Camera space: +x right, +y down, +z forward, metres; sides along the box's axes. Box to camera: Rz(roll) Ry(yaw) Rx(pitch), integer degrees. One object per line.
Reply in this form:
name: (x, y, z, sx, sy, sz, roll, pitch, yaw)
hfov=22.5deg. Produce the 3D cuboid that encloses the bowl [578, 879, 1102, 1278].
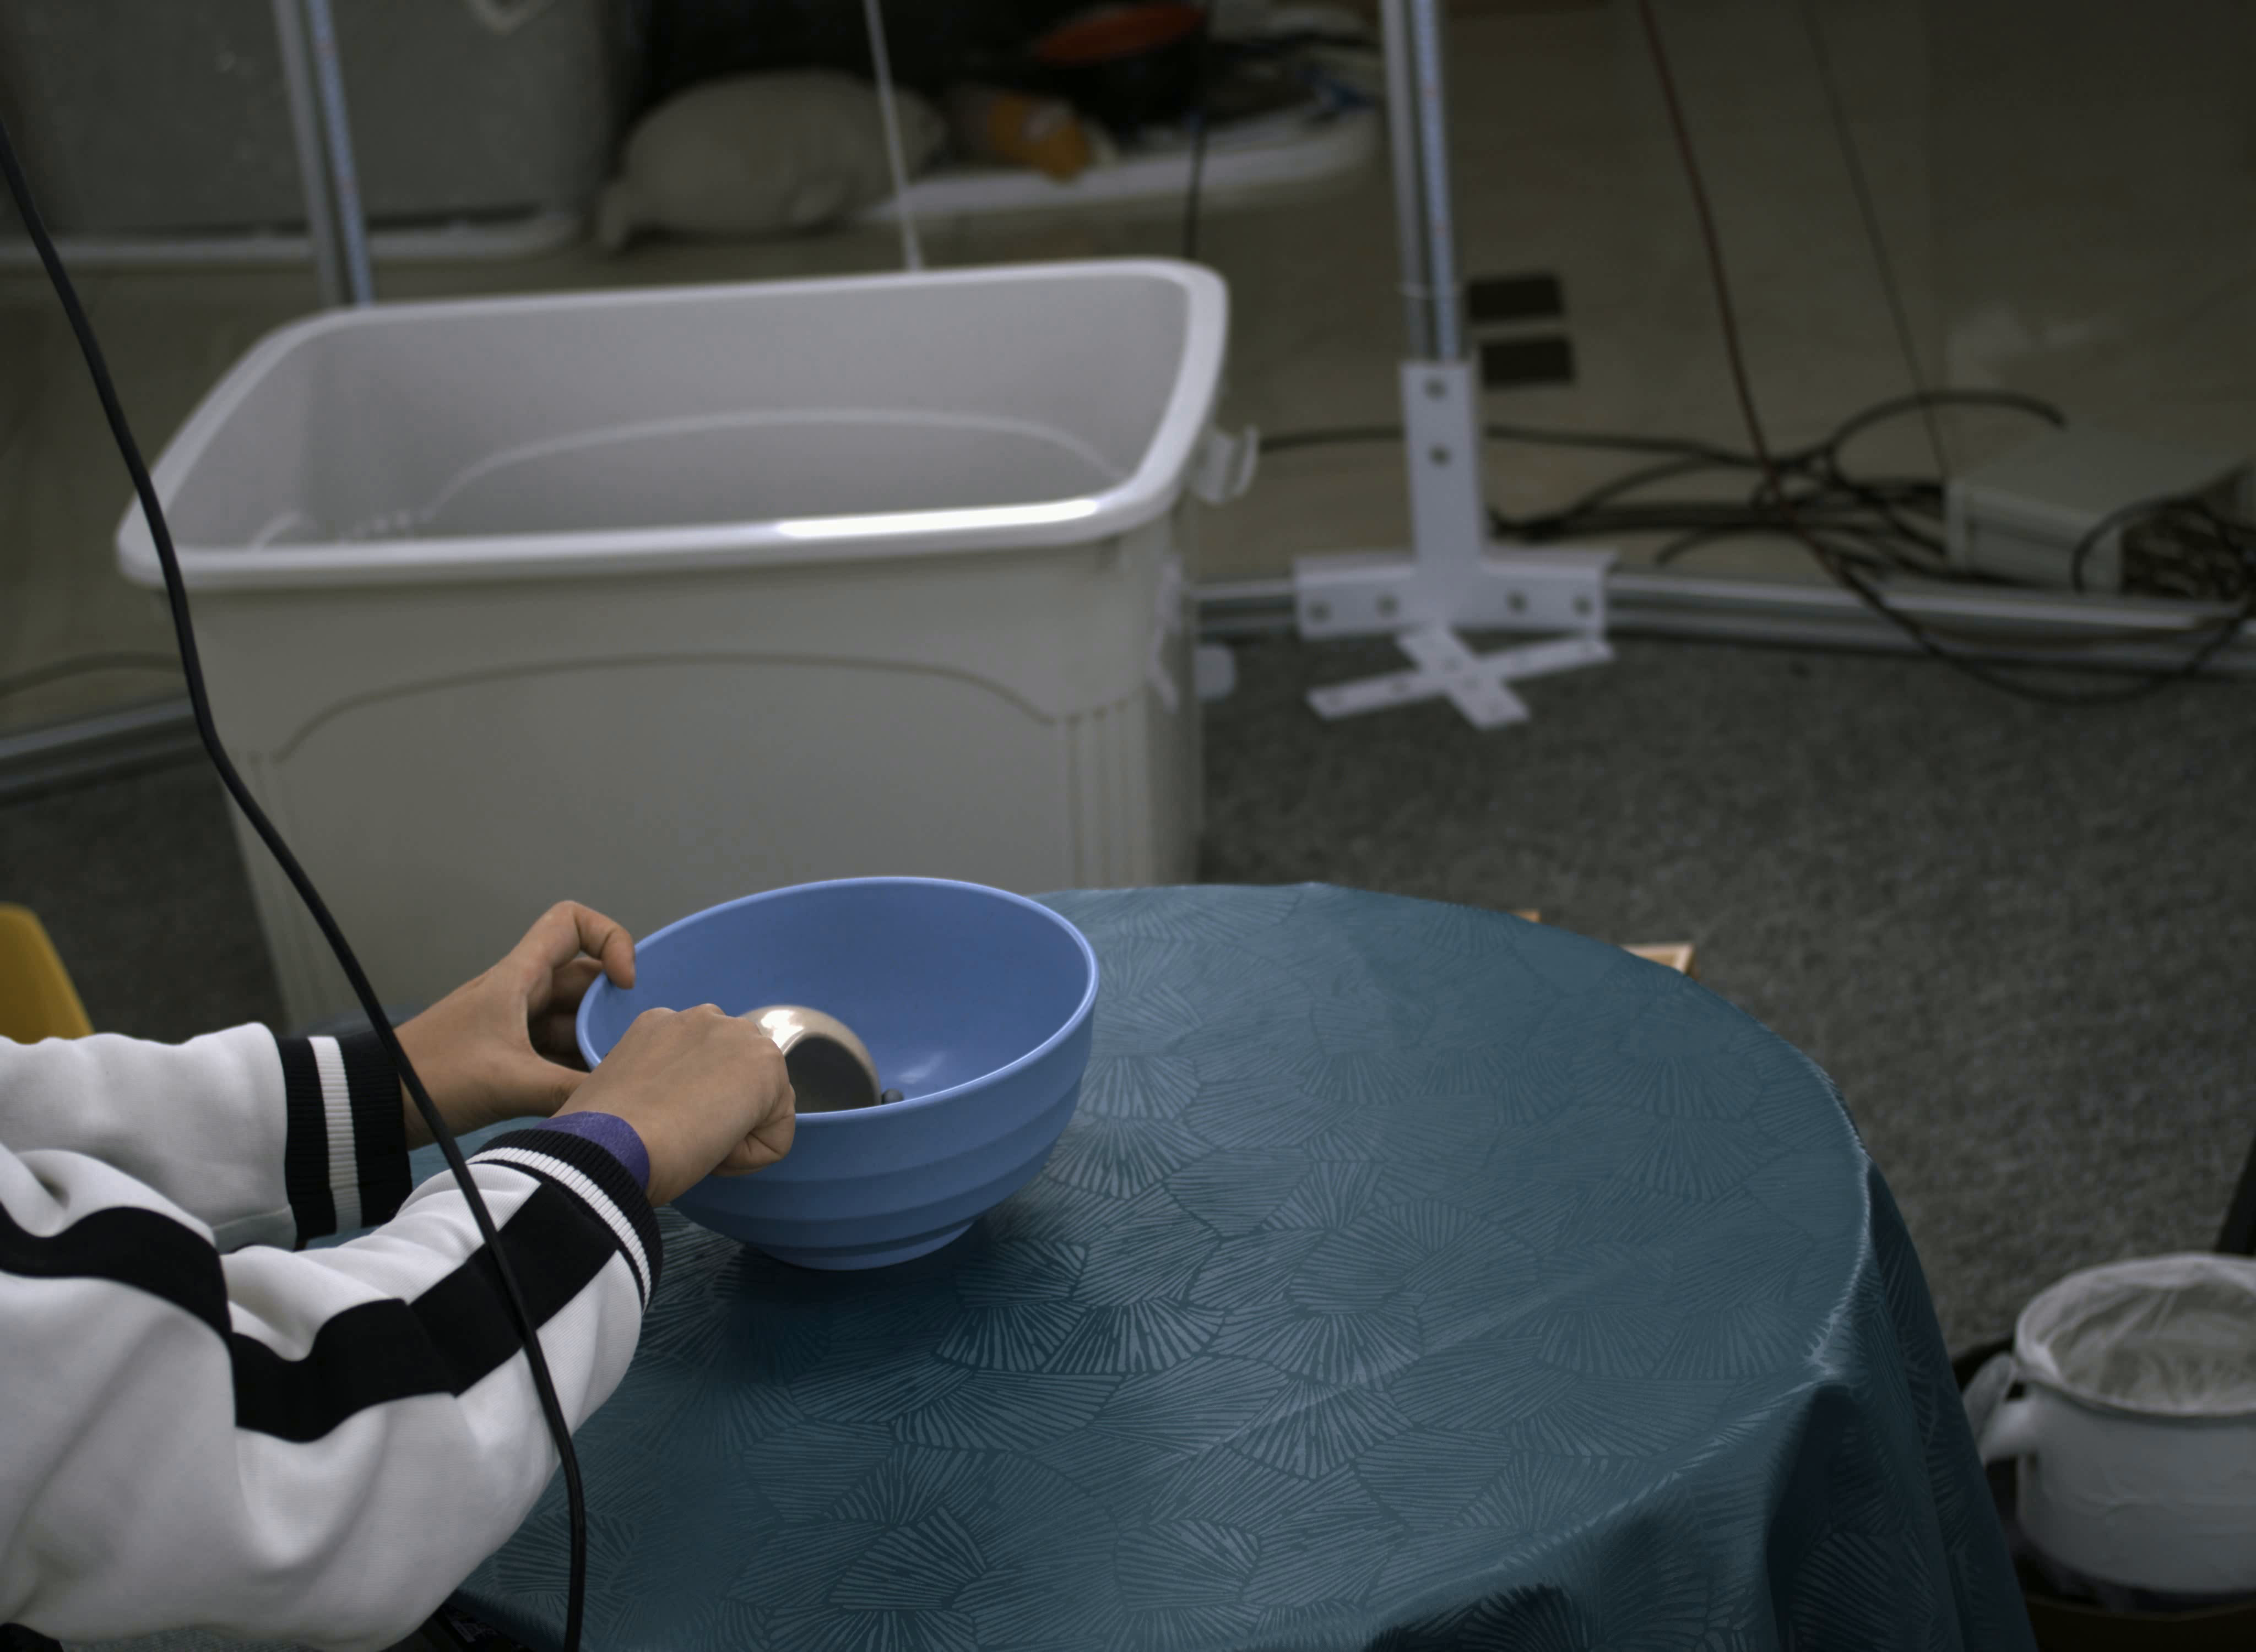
bowl: (-0.104, 0.107, 2.135, 0.196, 0.097, 0.193, -4, 27, 2)

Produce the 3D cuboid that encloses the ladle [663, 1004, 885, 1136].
ladle: (-0.139, 0.116, 2.044, 0.072, 0.073, 0.253, 7, 9, 6)
